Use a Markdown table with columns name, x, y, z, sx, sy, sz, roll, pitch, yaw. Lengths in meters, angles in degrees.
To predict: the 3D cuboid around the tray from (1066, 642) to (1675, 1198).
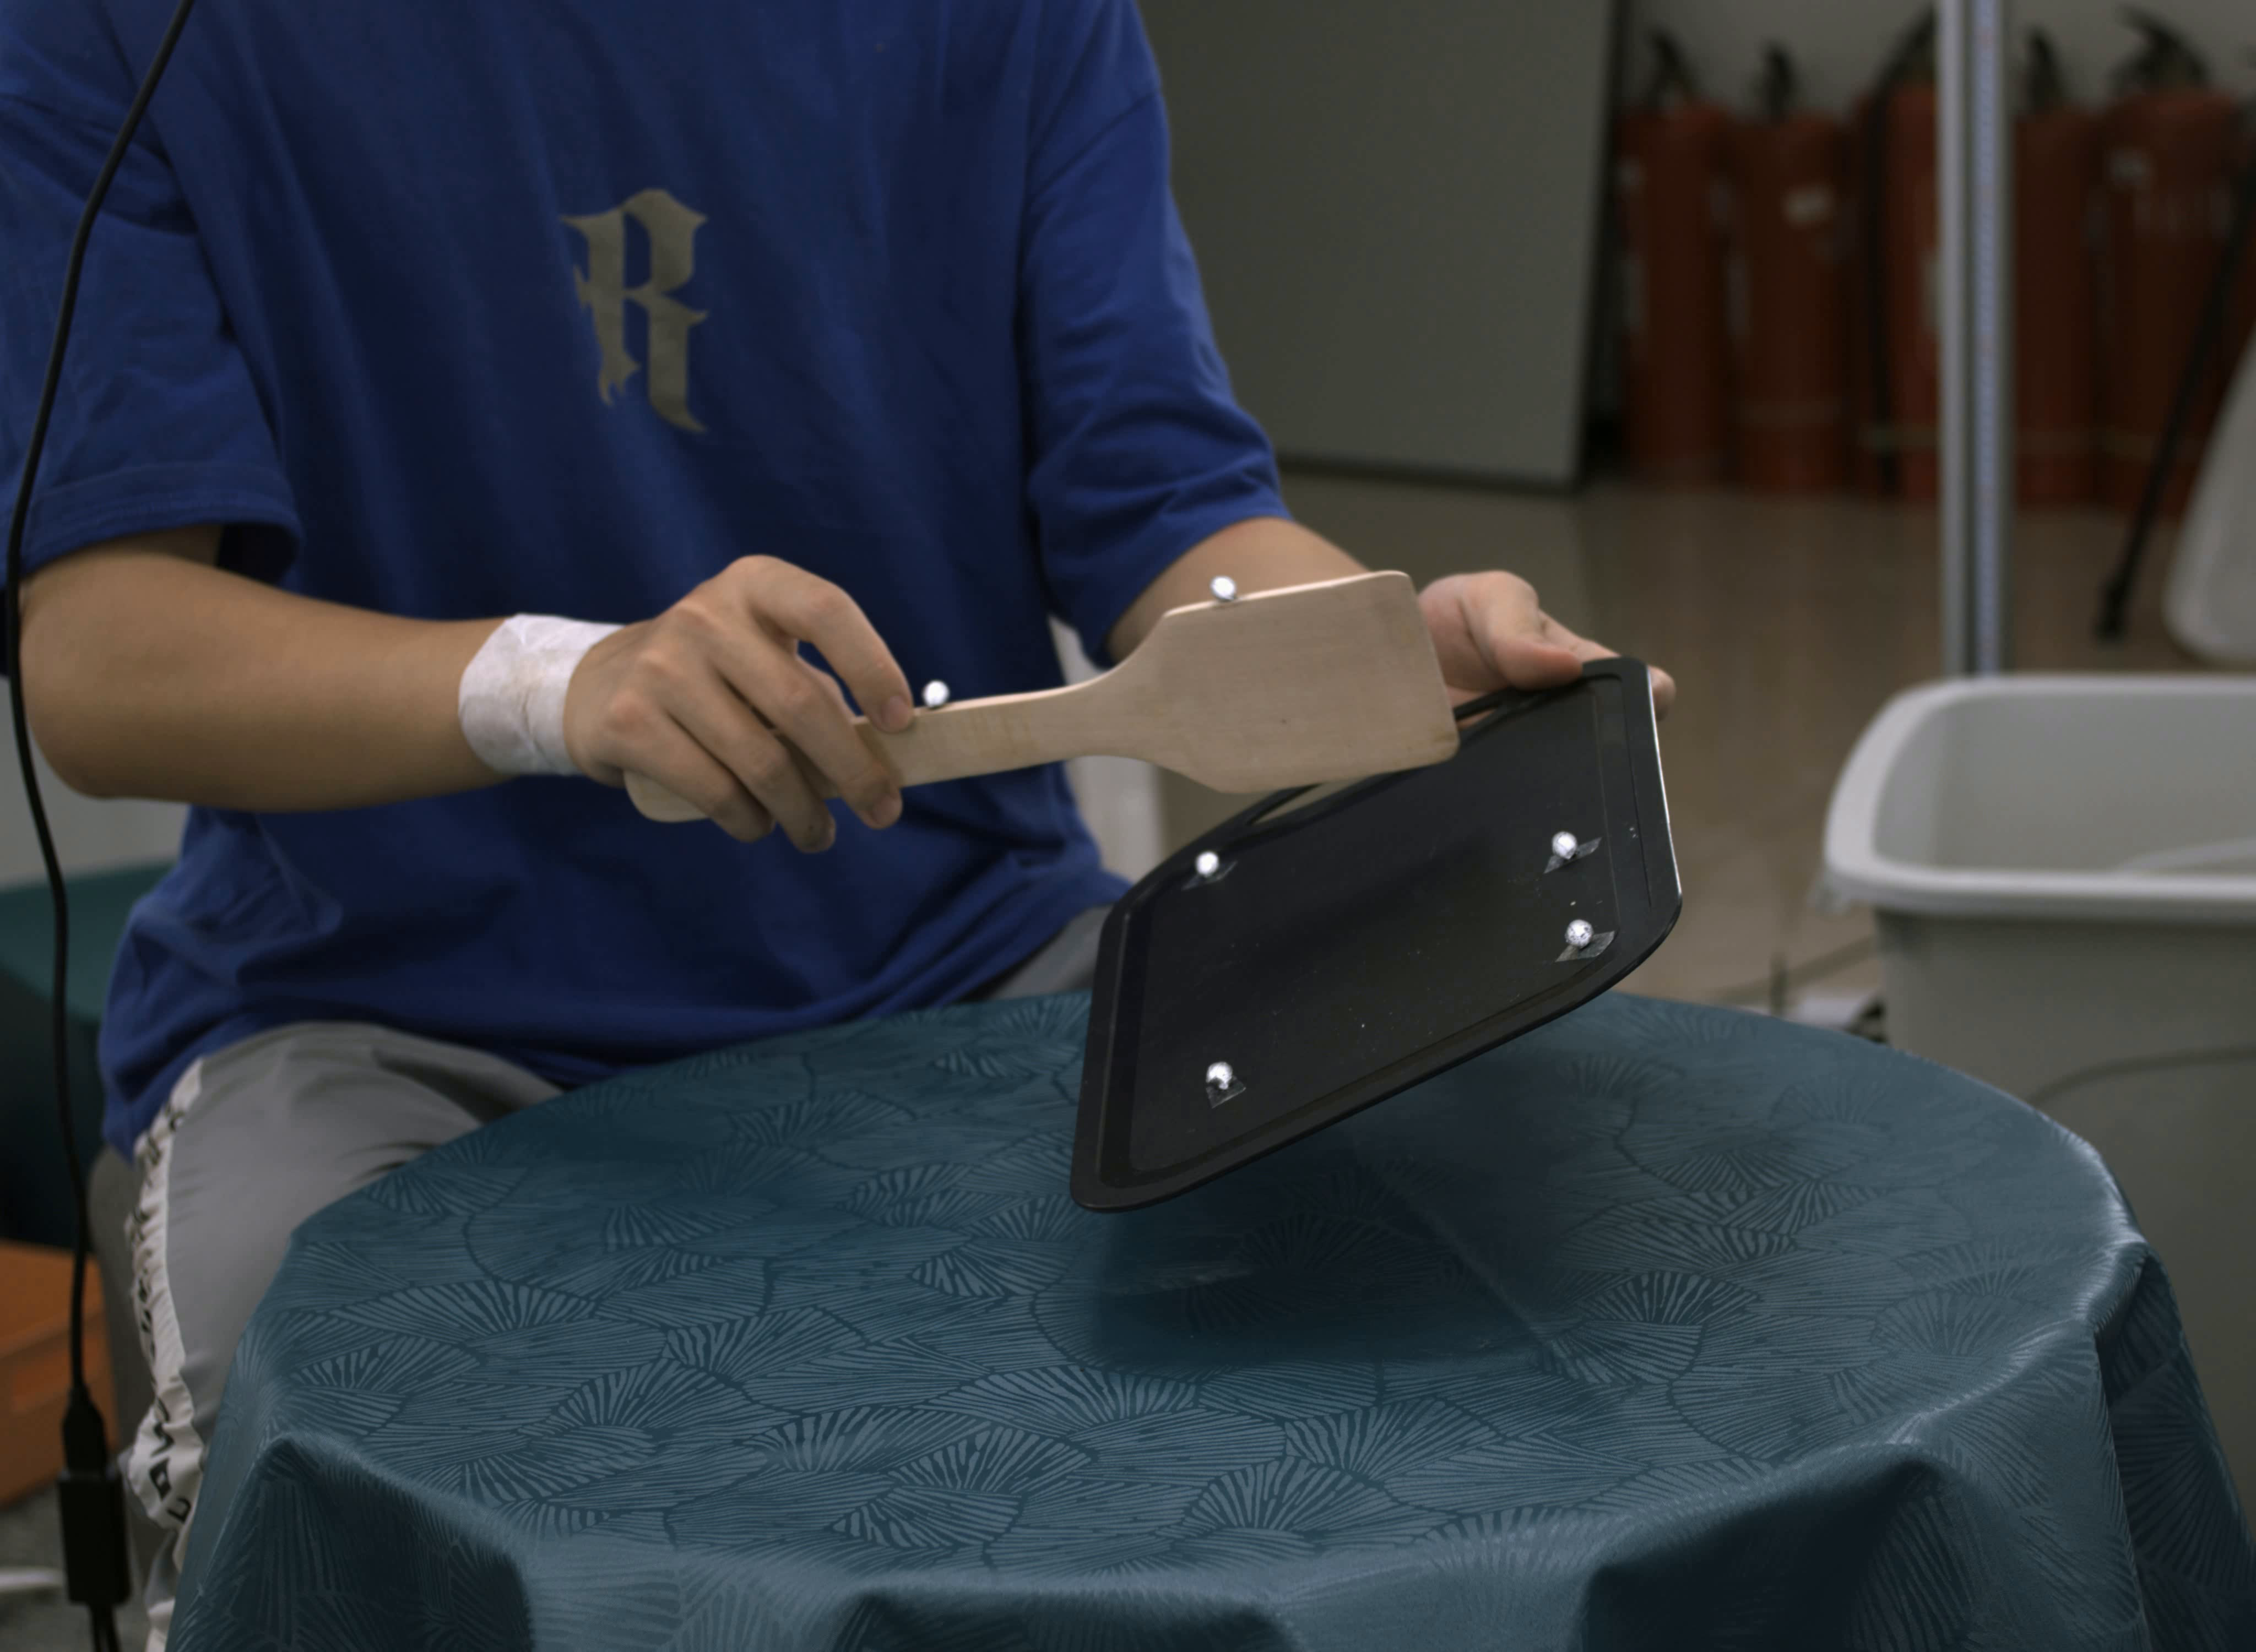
| name | x | y | z | sx | sy | sz | roll | pitch | yaw |
| --- | --- | --- | --- | --- | --- | --- | --- | --- | --- |
| tray | 0.077 | 0.022 | 1.733 | 0.211 | 0.010 | 0.325 | -27 | 16 | 13 |

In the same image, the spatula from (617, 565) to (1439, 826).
| name | x | y | z | sx | sy | sz | roll | pitch | yaw |
| --- | --- | --- | --- | --- | --- | --- | --- | --- | --- |
| spatula | -0.040 | -0.033 | 1.784 | 0.293 | 0.072 | 0.010 | -9 | 25 | 24 |
